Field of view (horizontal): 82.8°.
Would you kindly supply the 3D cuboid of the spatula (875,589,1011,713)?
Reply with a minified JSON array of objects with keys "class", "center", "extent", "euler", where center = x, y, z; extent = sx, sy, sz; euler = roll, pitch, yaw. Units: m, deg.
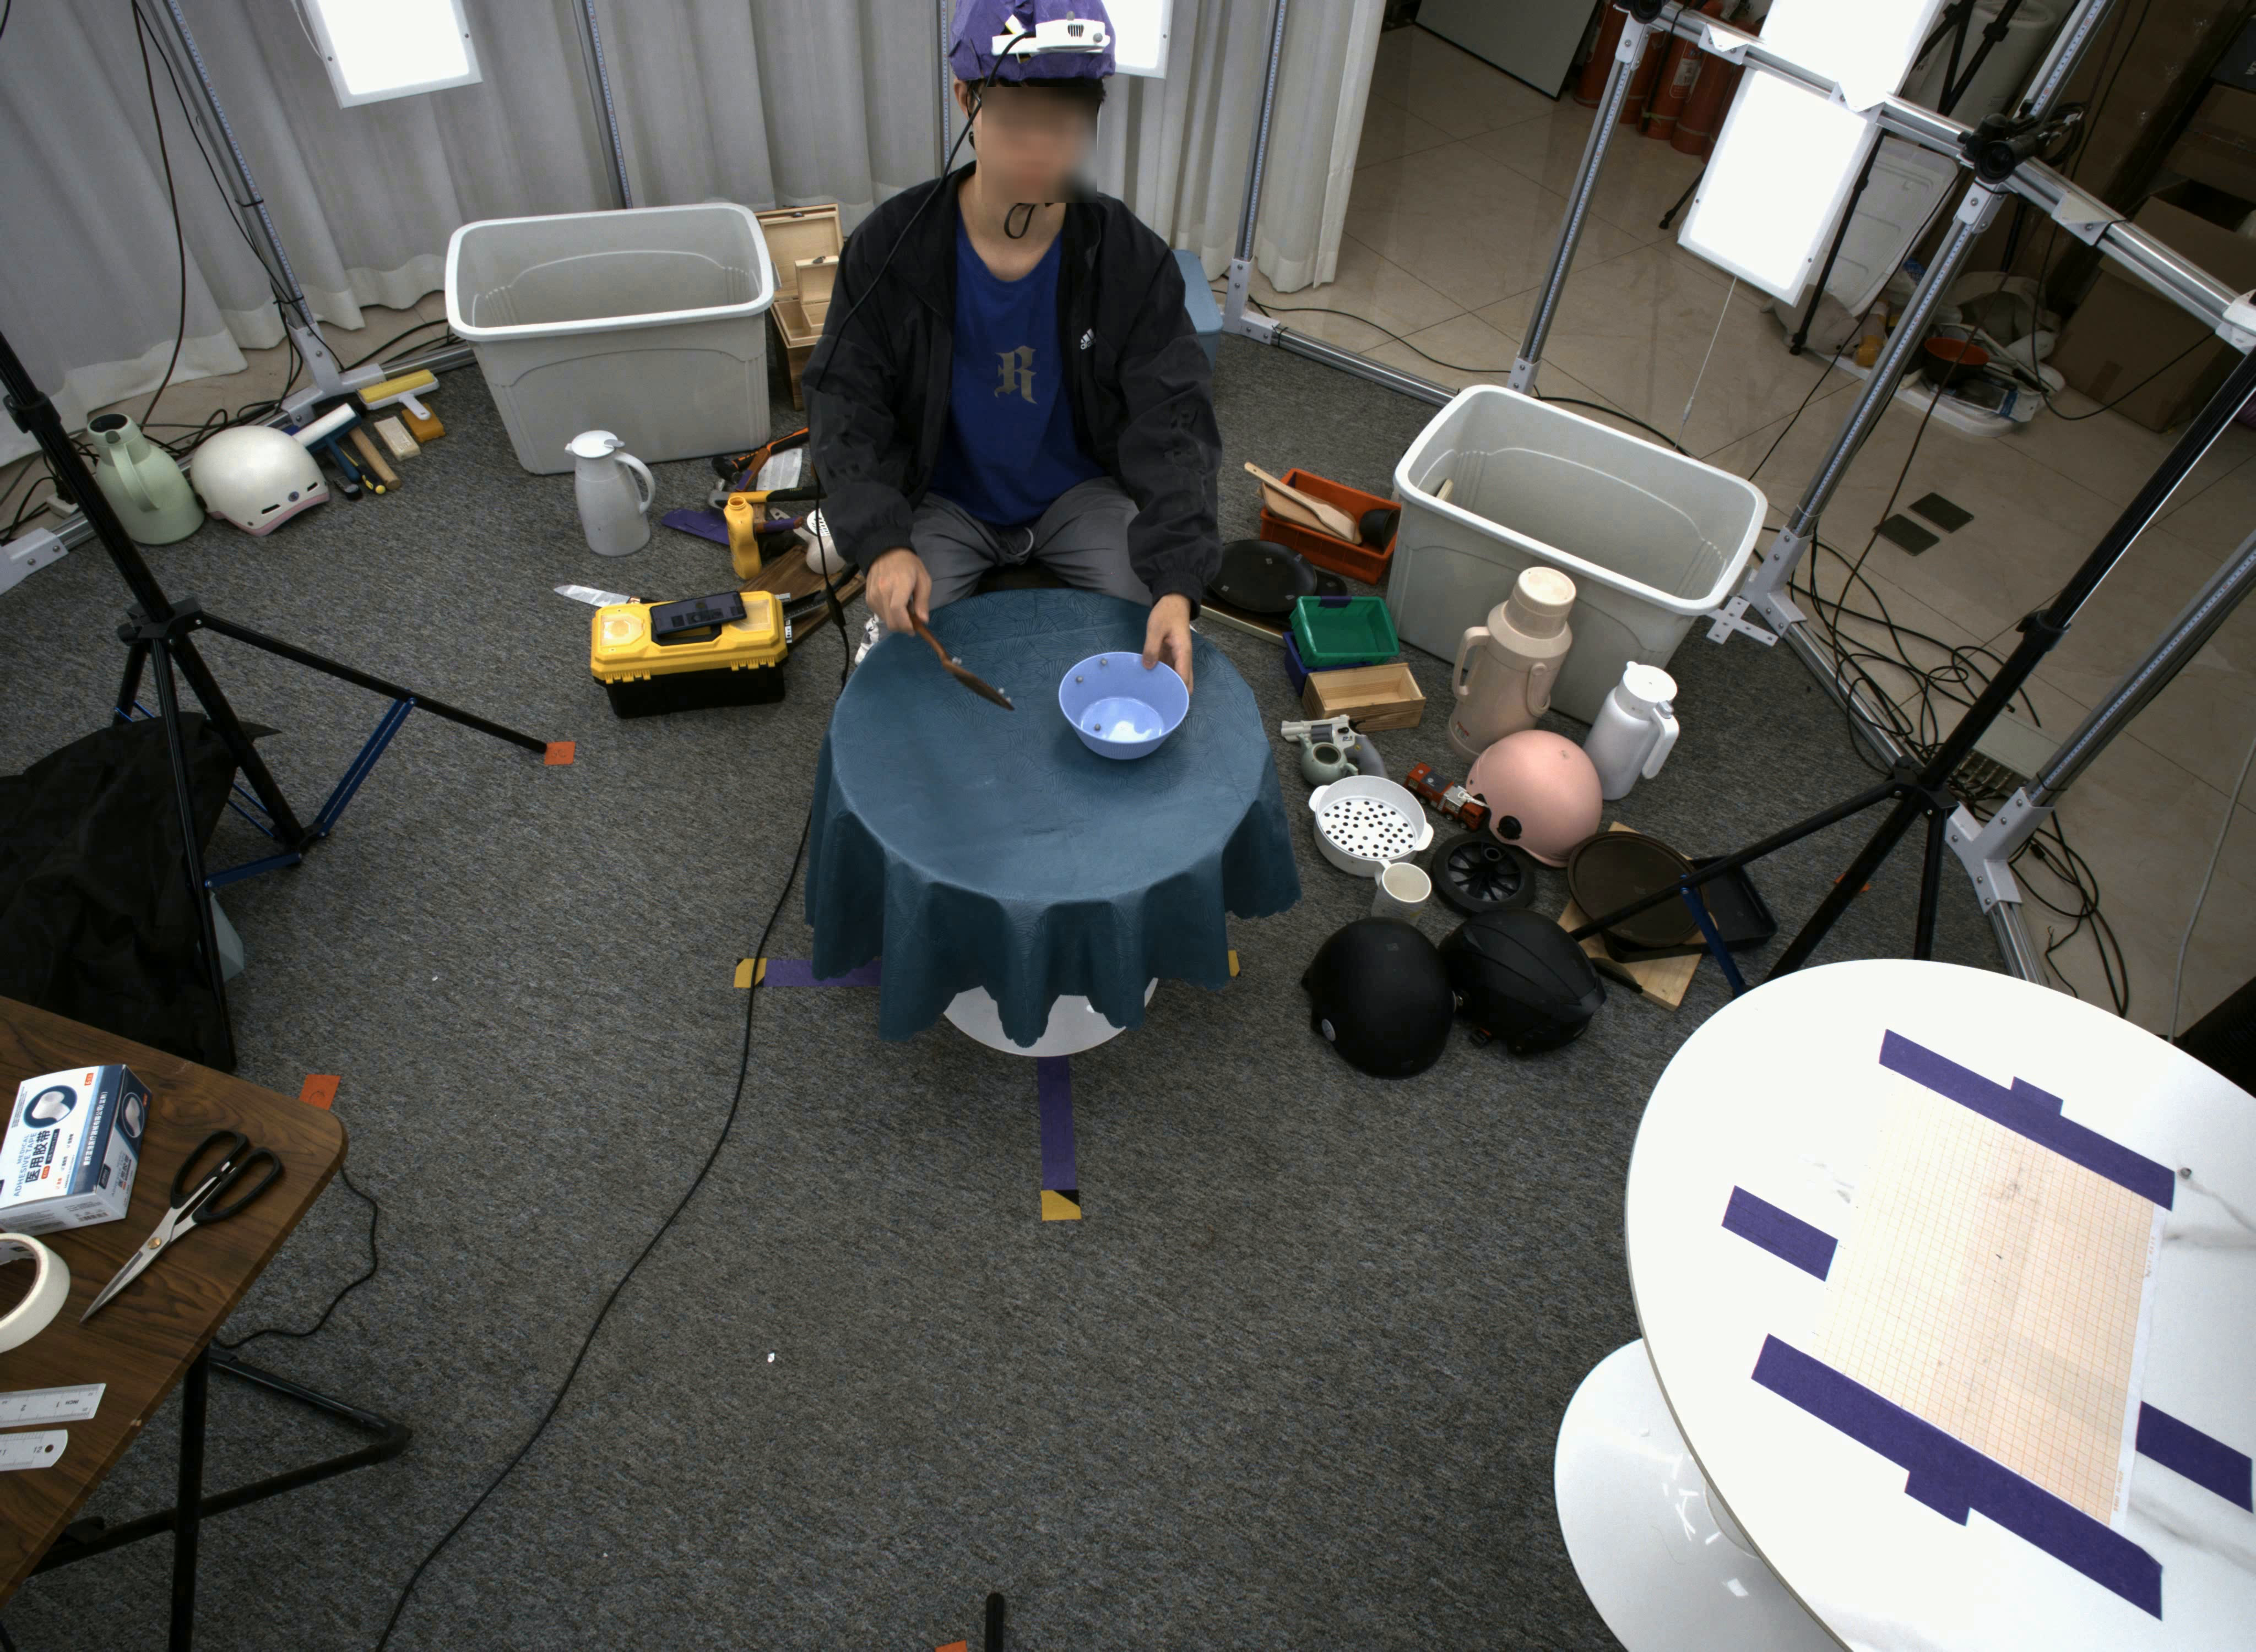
[{"class":"spatula","center":[-0.261,-0.240,1.699],"extent":[0.024,0.084,0.395],"euler":[-49,42,4]}]

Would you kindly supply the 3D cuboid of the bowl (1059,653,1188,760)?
[{"class":"bowl","center":[-0.007,-0.154,1.760],"extent":[0.176,0.068,0.180],"euler":[2,48,-2]}]
